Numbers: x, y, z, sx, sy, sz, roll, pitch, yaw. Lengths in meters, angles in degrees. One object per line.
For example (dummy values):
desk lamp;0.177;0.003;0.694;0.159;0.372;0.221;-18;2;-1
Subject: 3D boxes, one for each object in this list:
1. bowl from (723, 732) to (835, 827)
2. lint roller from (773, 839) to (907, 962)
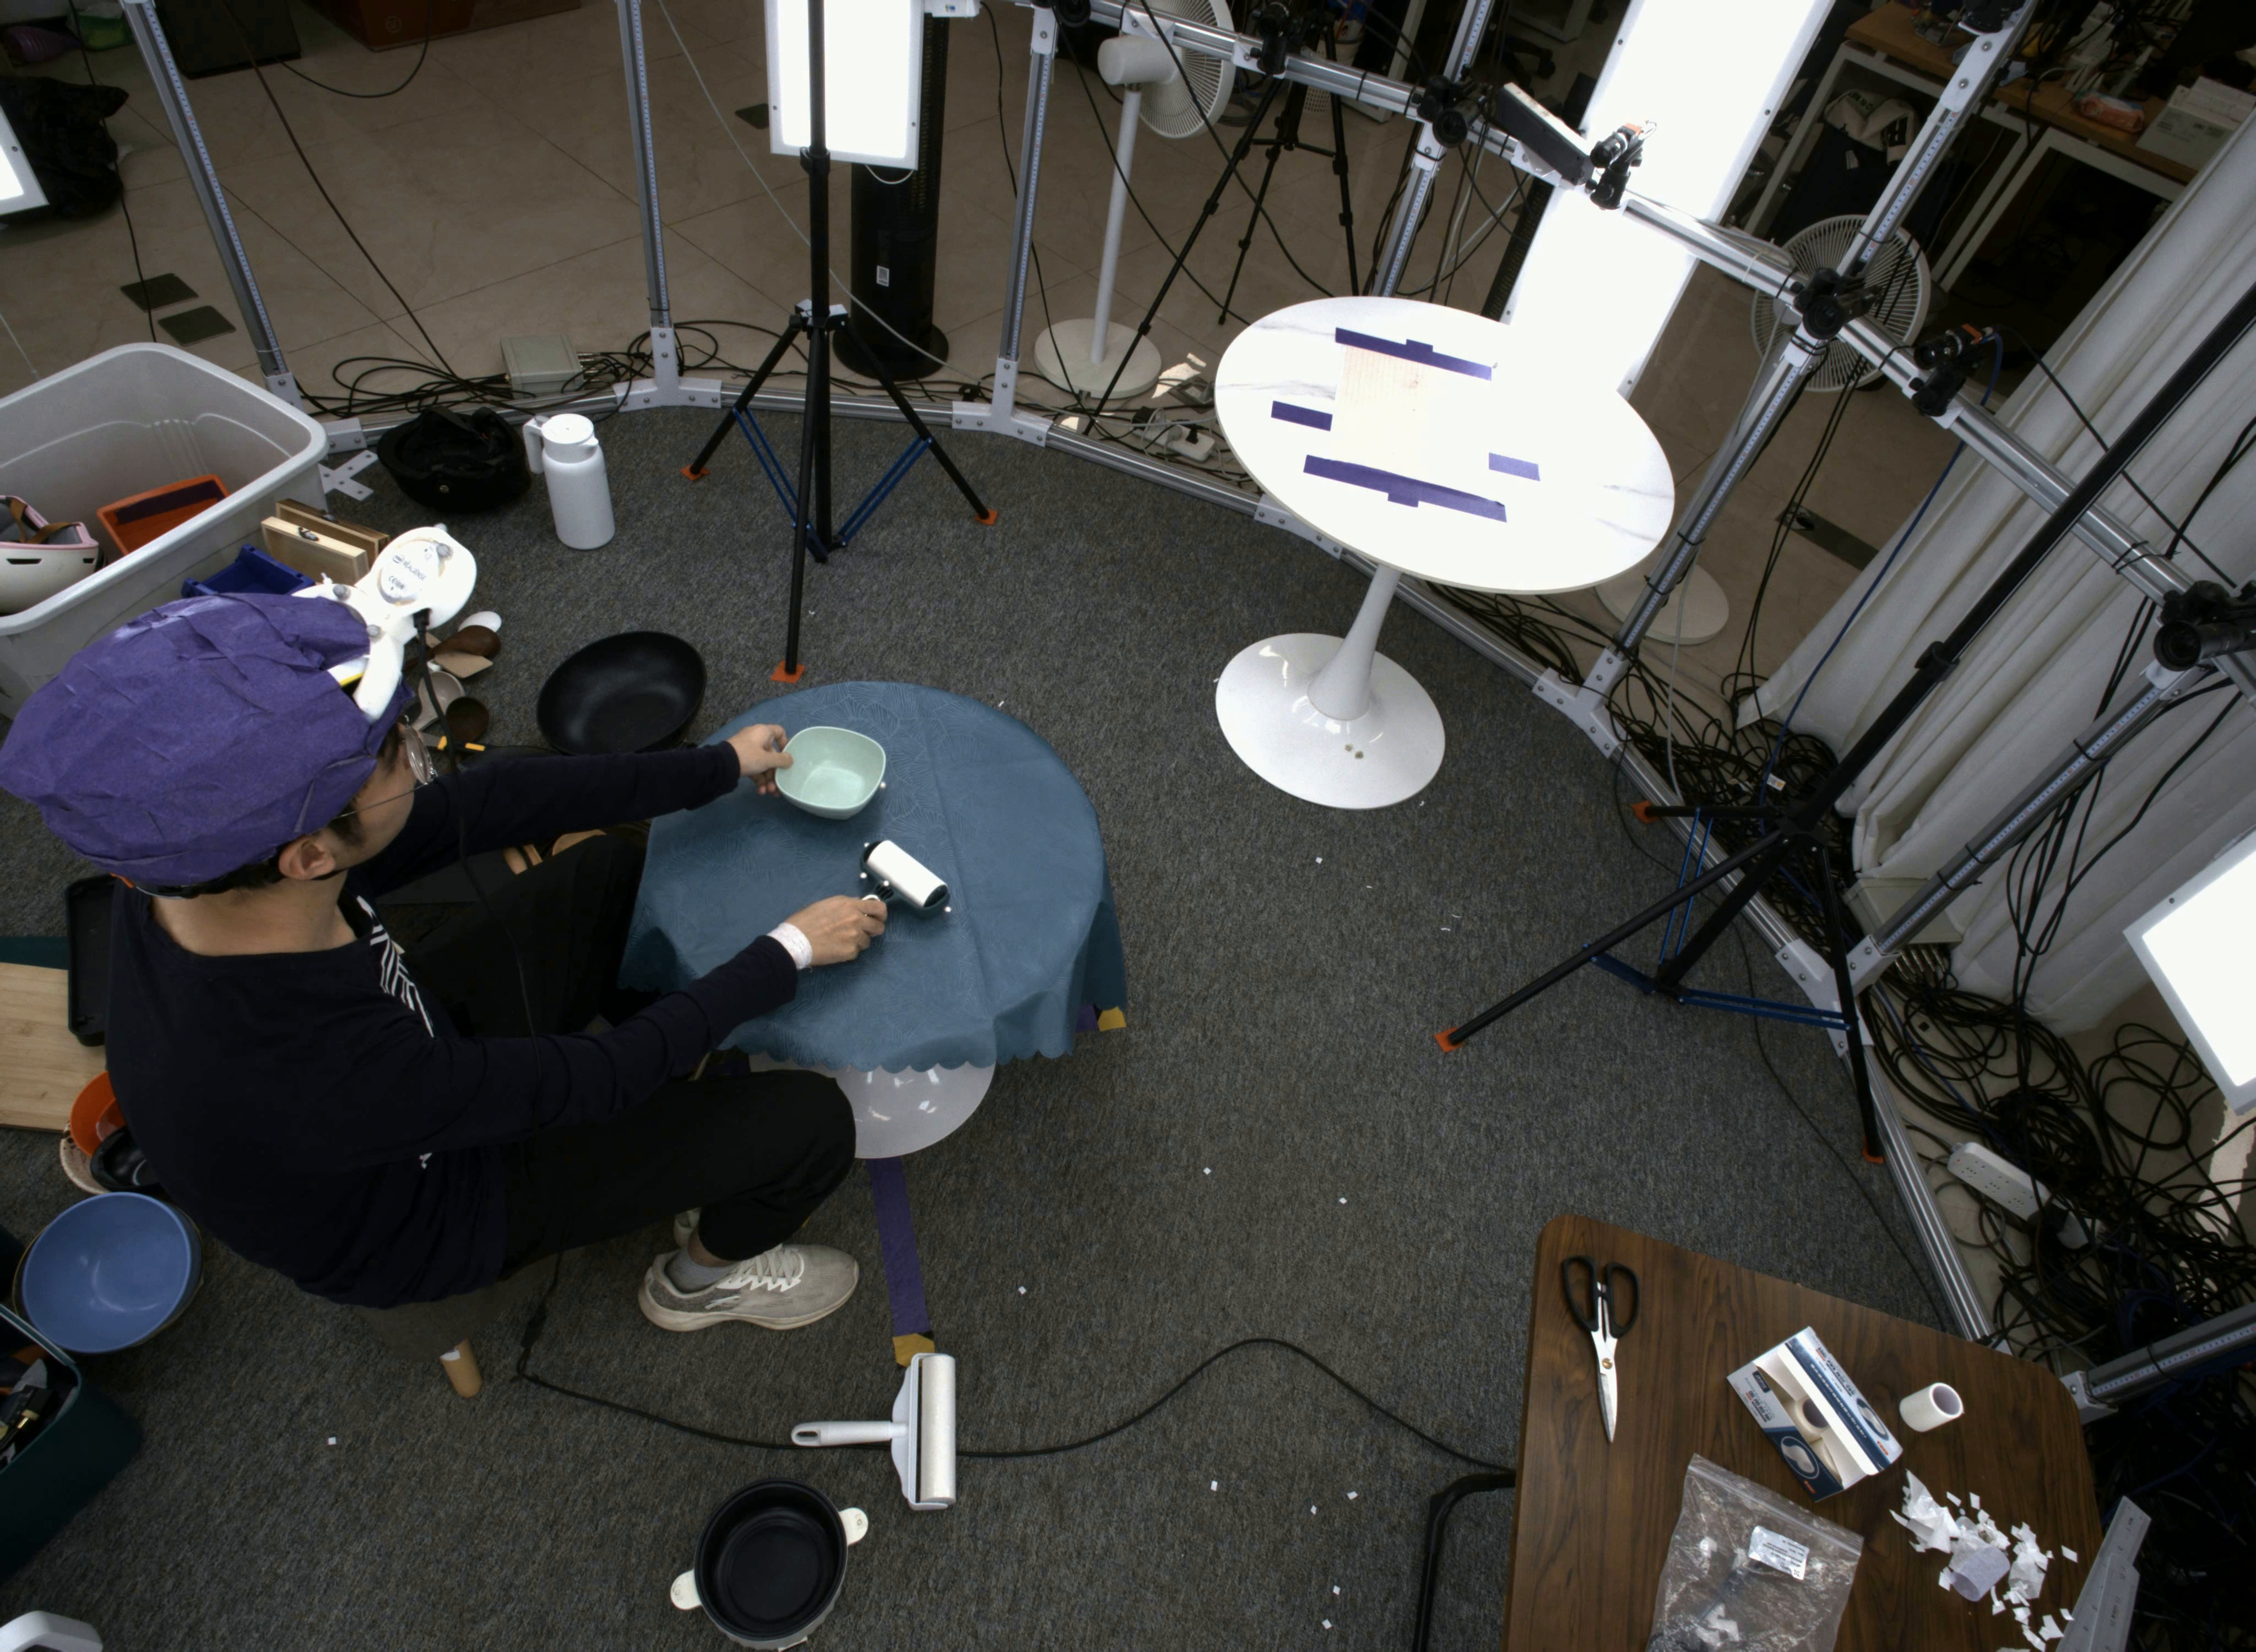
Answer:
bowl;-0.464;-0.054;1.727;0.151;0.060;0.148;9;50;-9
lint roller;-0.377;0.101;1.626;0.131;0.049;0.180;33;45;14
